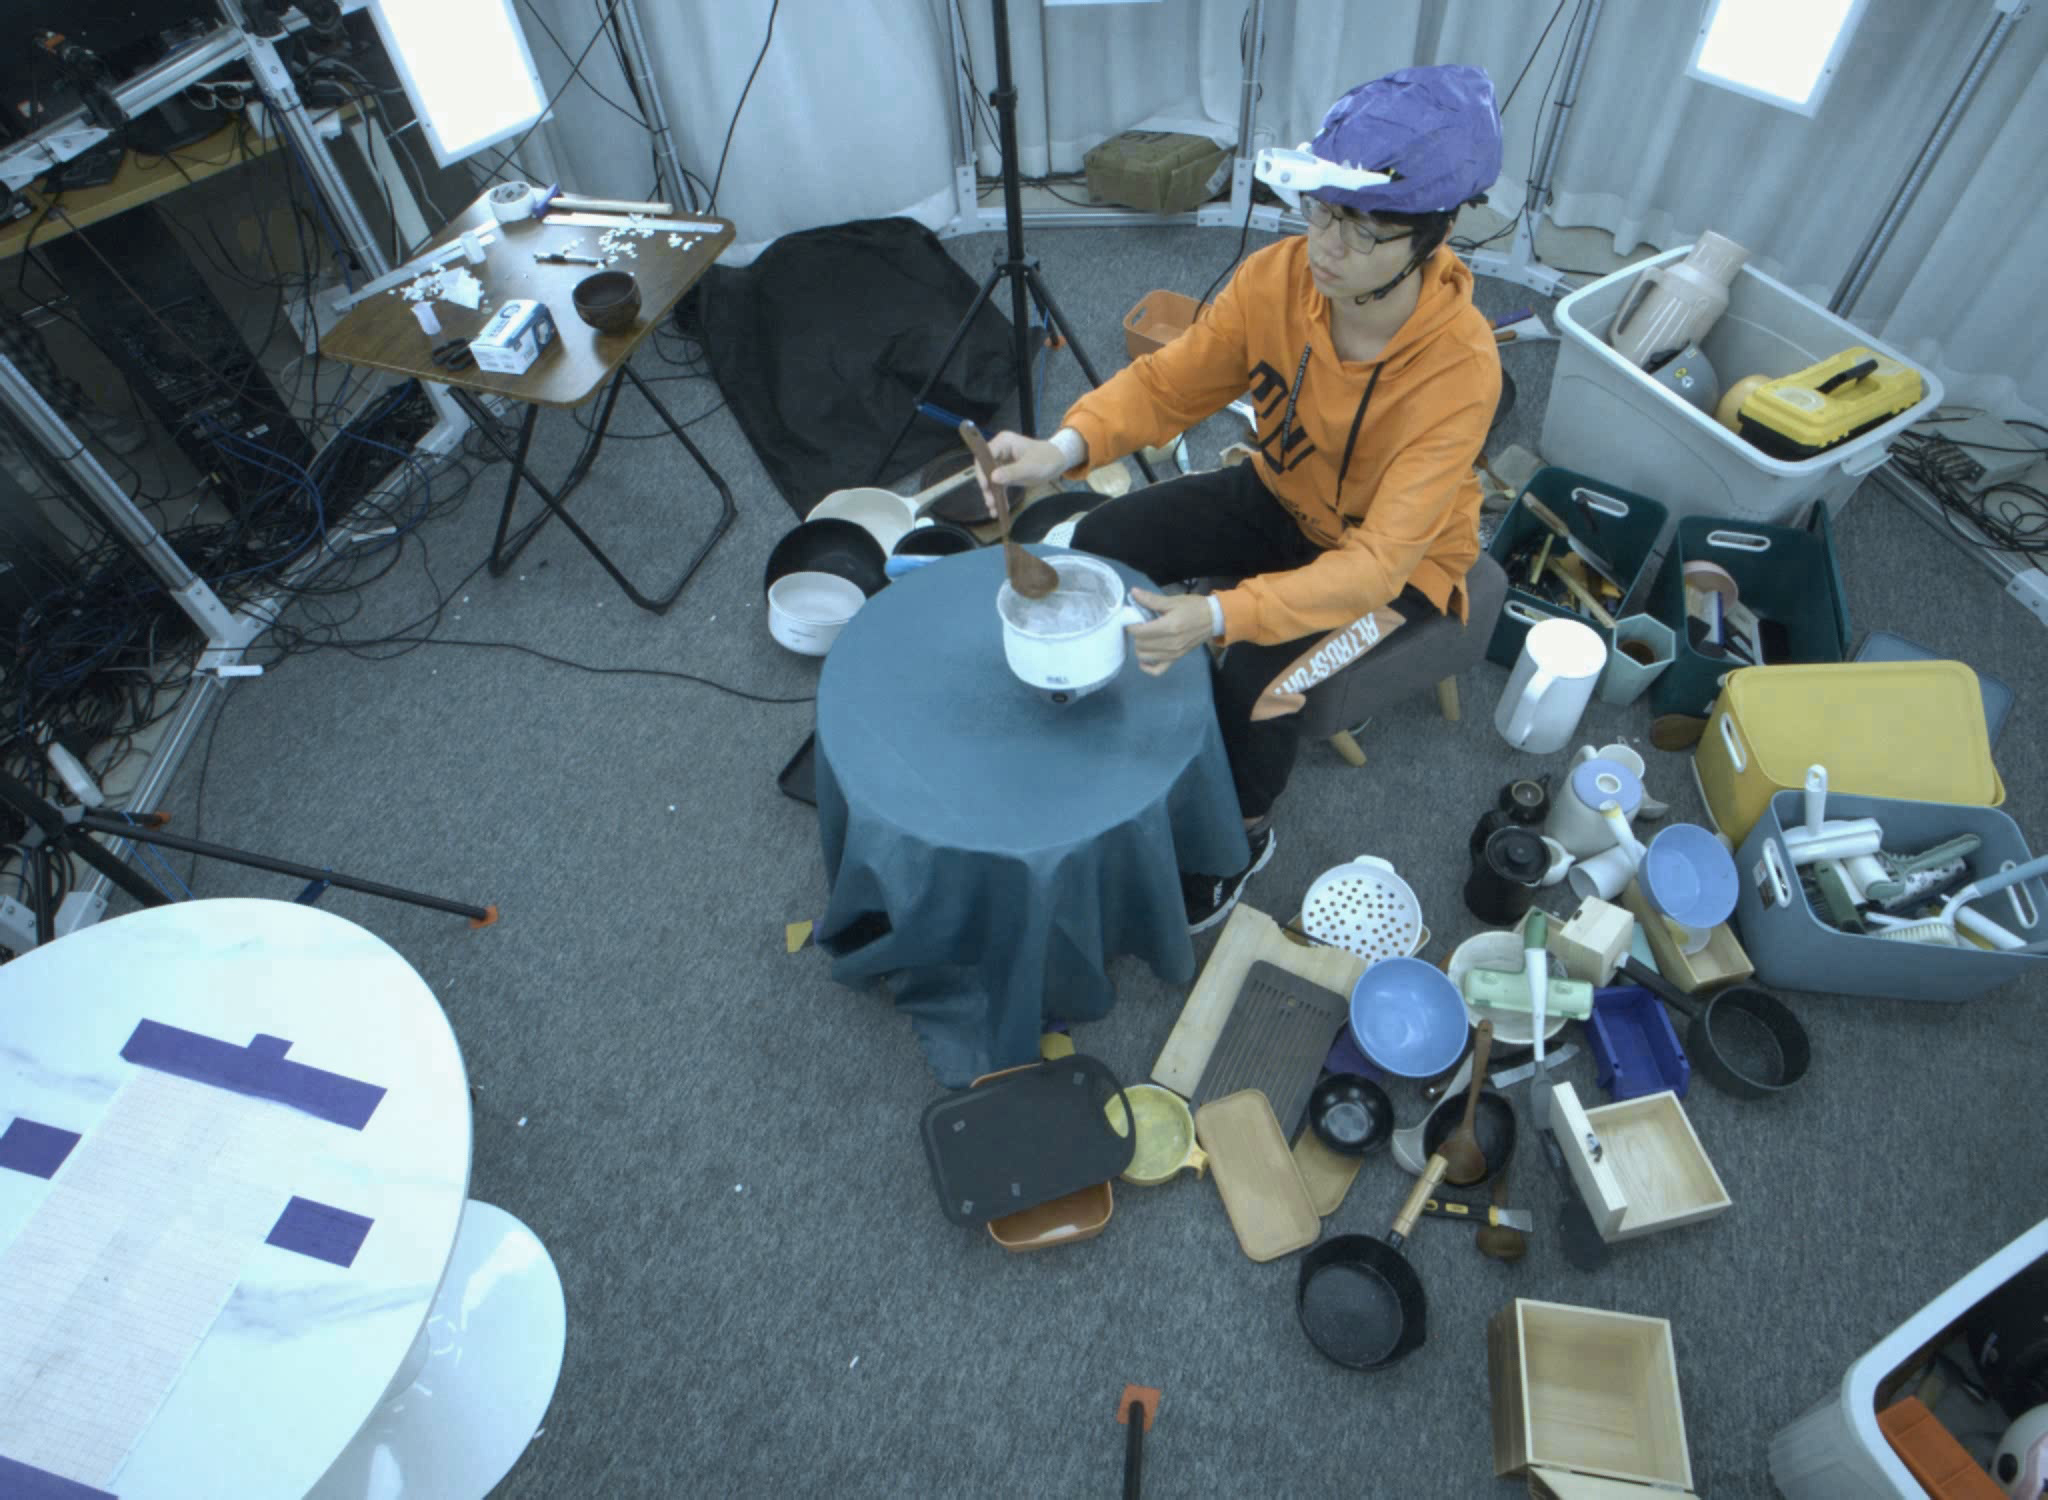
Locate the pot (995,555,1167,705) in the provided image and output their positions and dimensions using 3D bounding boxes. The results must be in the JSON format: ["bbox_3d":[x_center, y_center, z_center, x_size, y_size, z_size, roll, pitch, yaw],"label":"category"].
[{"bbox_3d":[0.083,-0.169,1.740,0.232,0.138,0.177,1,50,9],"label":"pot"}]

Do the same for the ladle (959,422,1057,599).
[{"bbox_3d":[-0.025,-0.328,1.649,0.064,0.262,0.077,-7,18,41],"label":"ladle"}]
